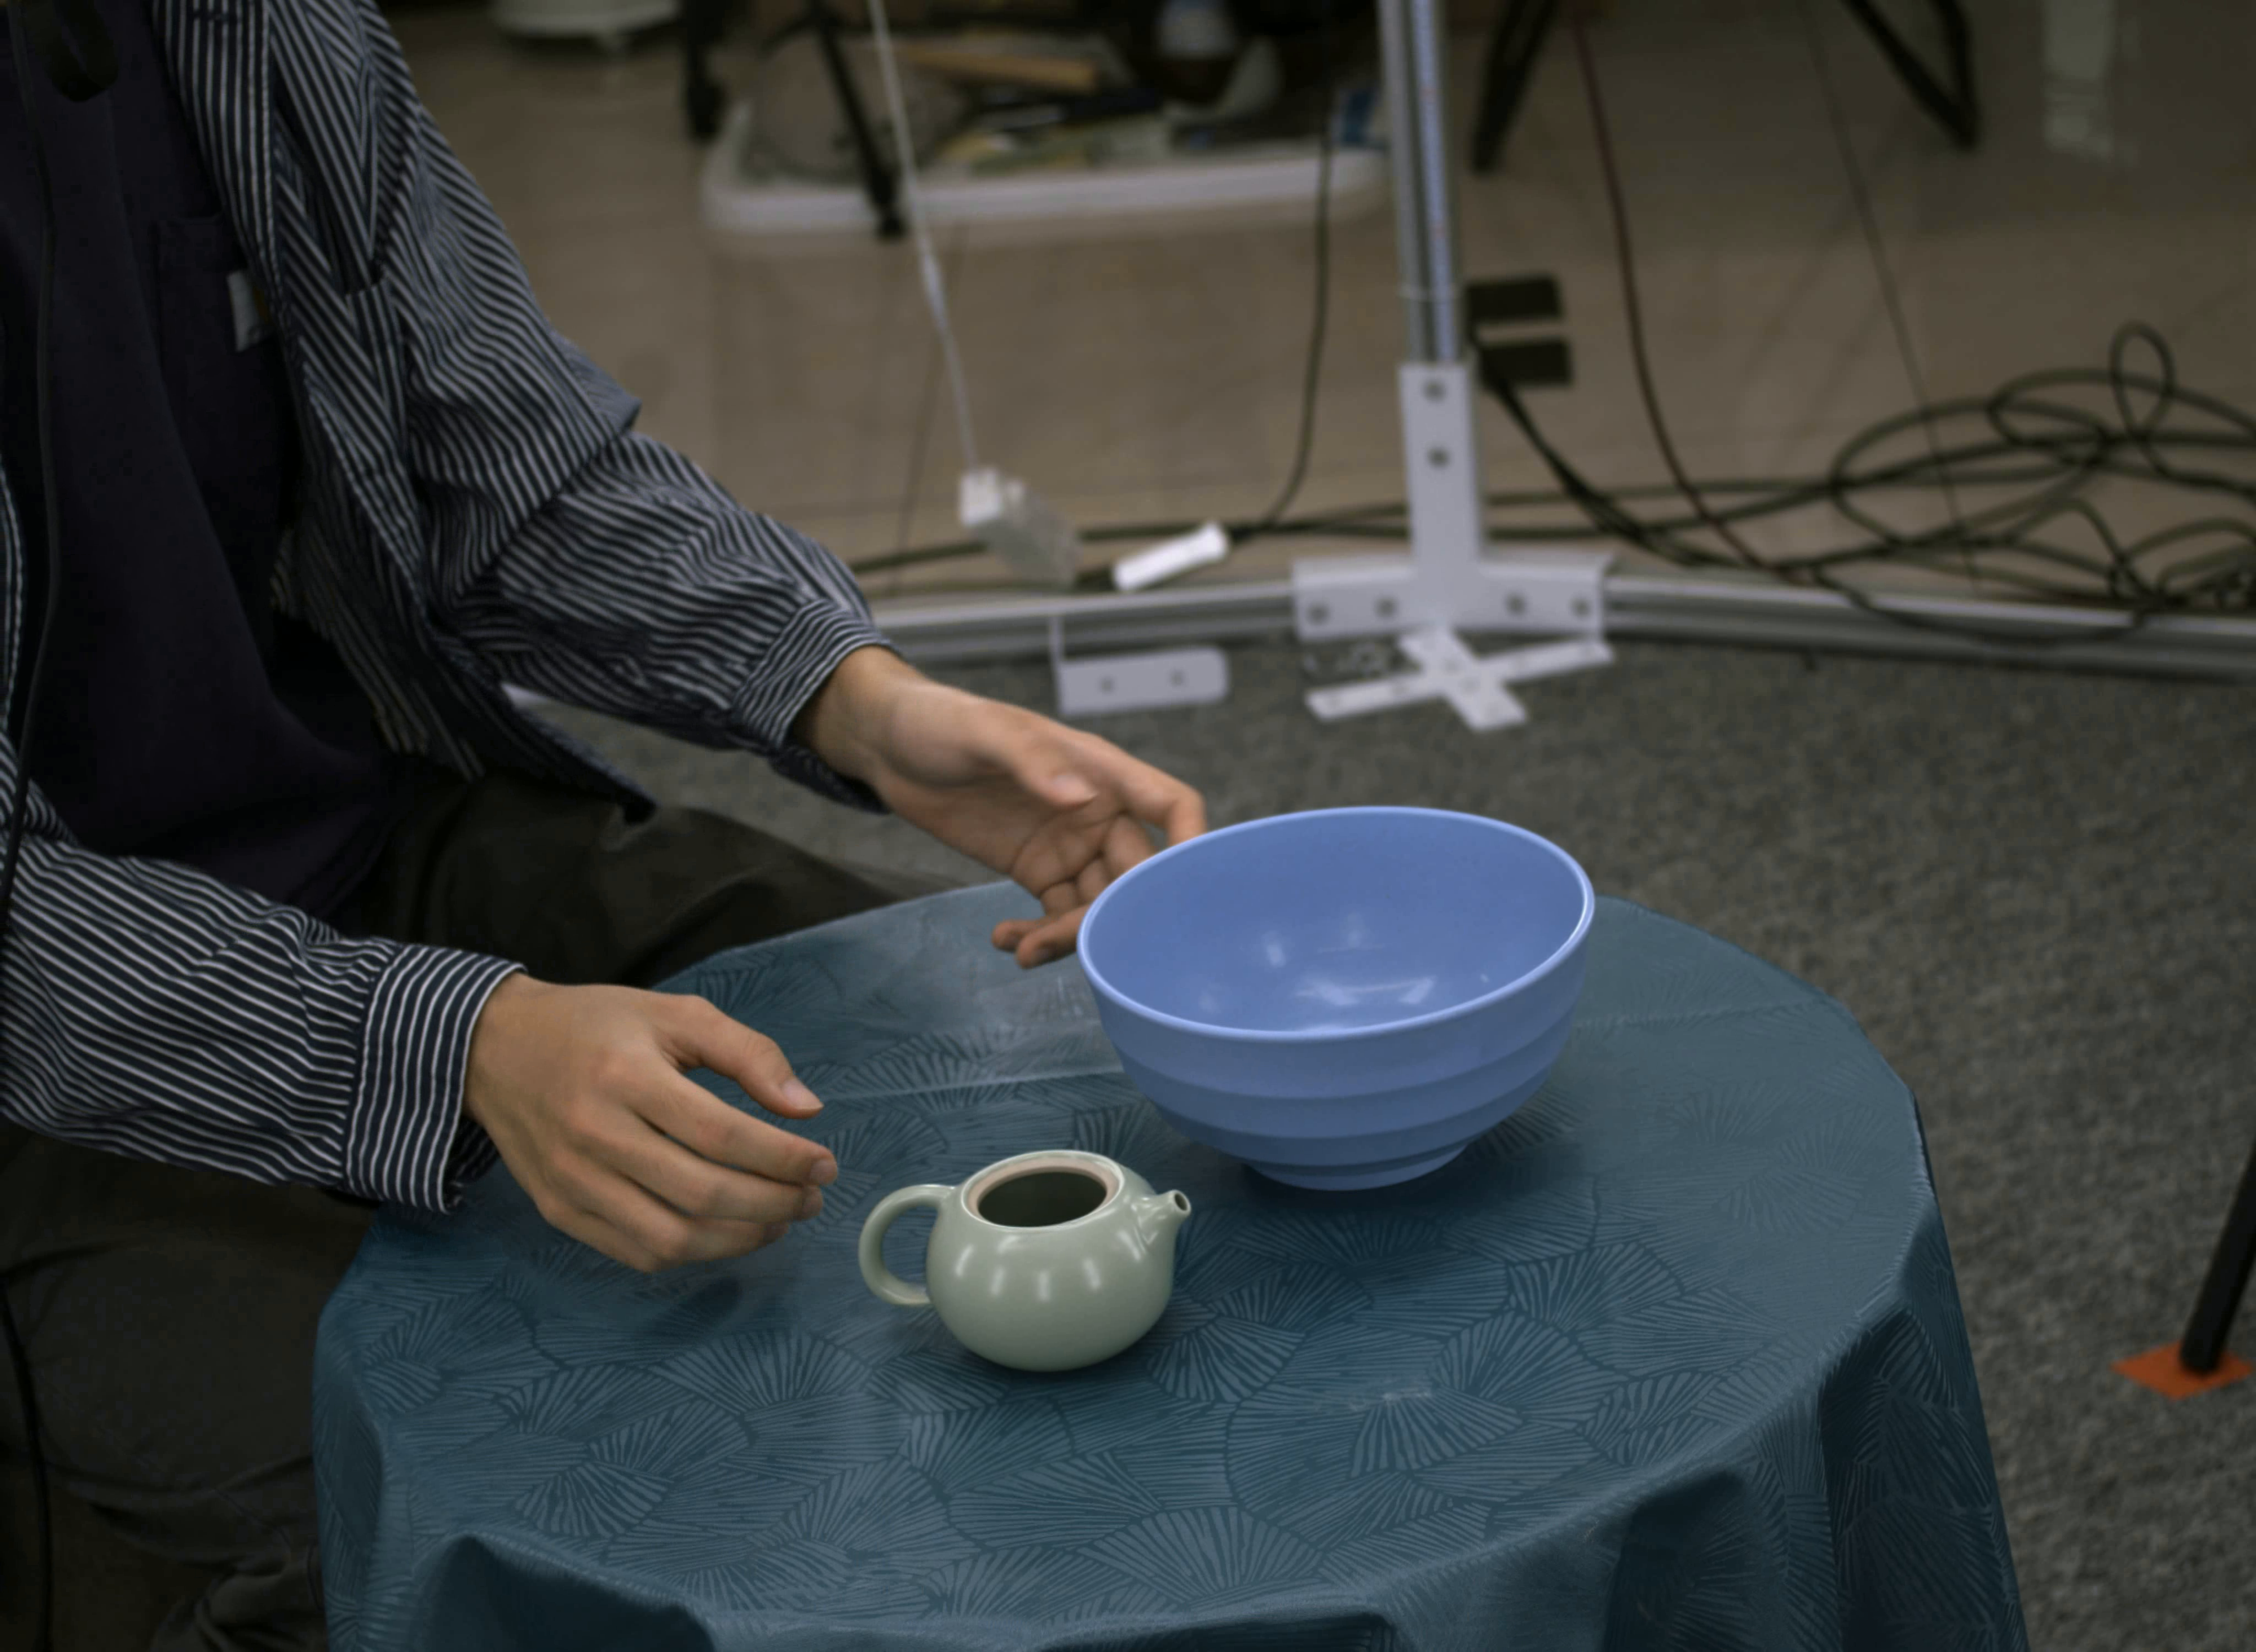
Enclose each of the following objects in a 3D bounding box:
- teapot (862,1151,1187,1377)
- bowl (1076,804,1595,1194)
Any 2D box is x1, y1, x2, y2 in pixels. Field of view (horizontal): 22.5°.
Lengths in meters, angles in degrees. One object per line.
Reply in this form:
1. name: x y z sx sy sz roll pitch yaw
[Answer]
1. teapot: -0.037 0.158 2.050 0.128 0.062 0.090 3 29 21
2. bowl: 0.083 0.077 2.153 0.196 0.097 0.193 -6 26 3
